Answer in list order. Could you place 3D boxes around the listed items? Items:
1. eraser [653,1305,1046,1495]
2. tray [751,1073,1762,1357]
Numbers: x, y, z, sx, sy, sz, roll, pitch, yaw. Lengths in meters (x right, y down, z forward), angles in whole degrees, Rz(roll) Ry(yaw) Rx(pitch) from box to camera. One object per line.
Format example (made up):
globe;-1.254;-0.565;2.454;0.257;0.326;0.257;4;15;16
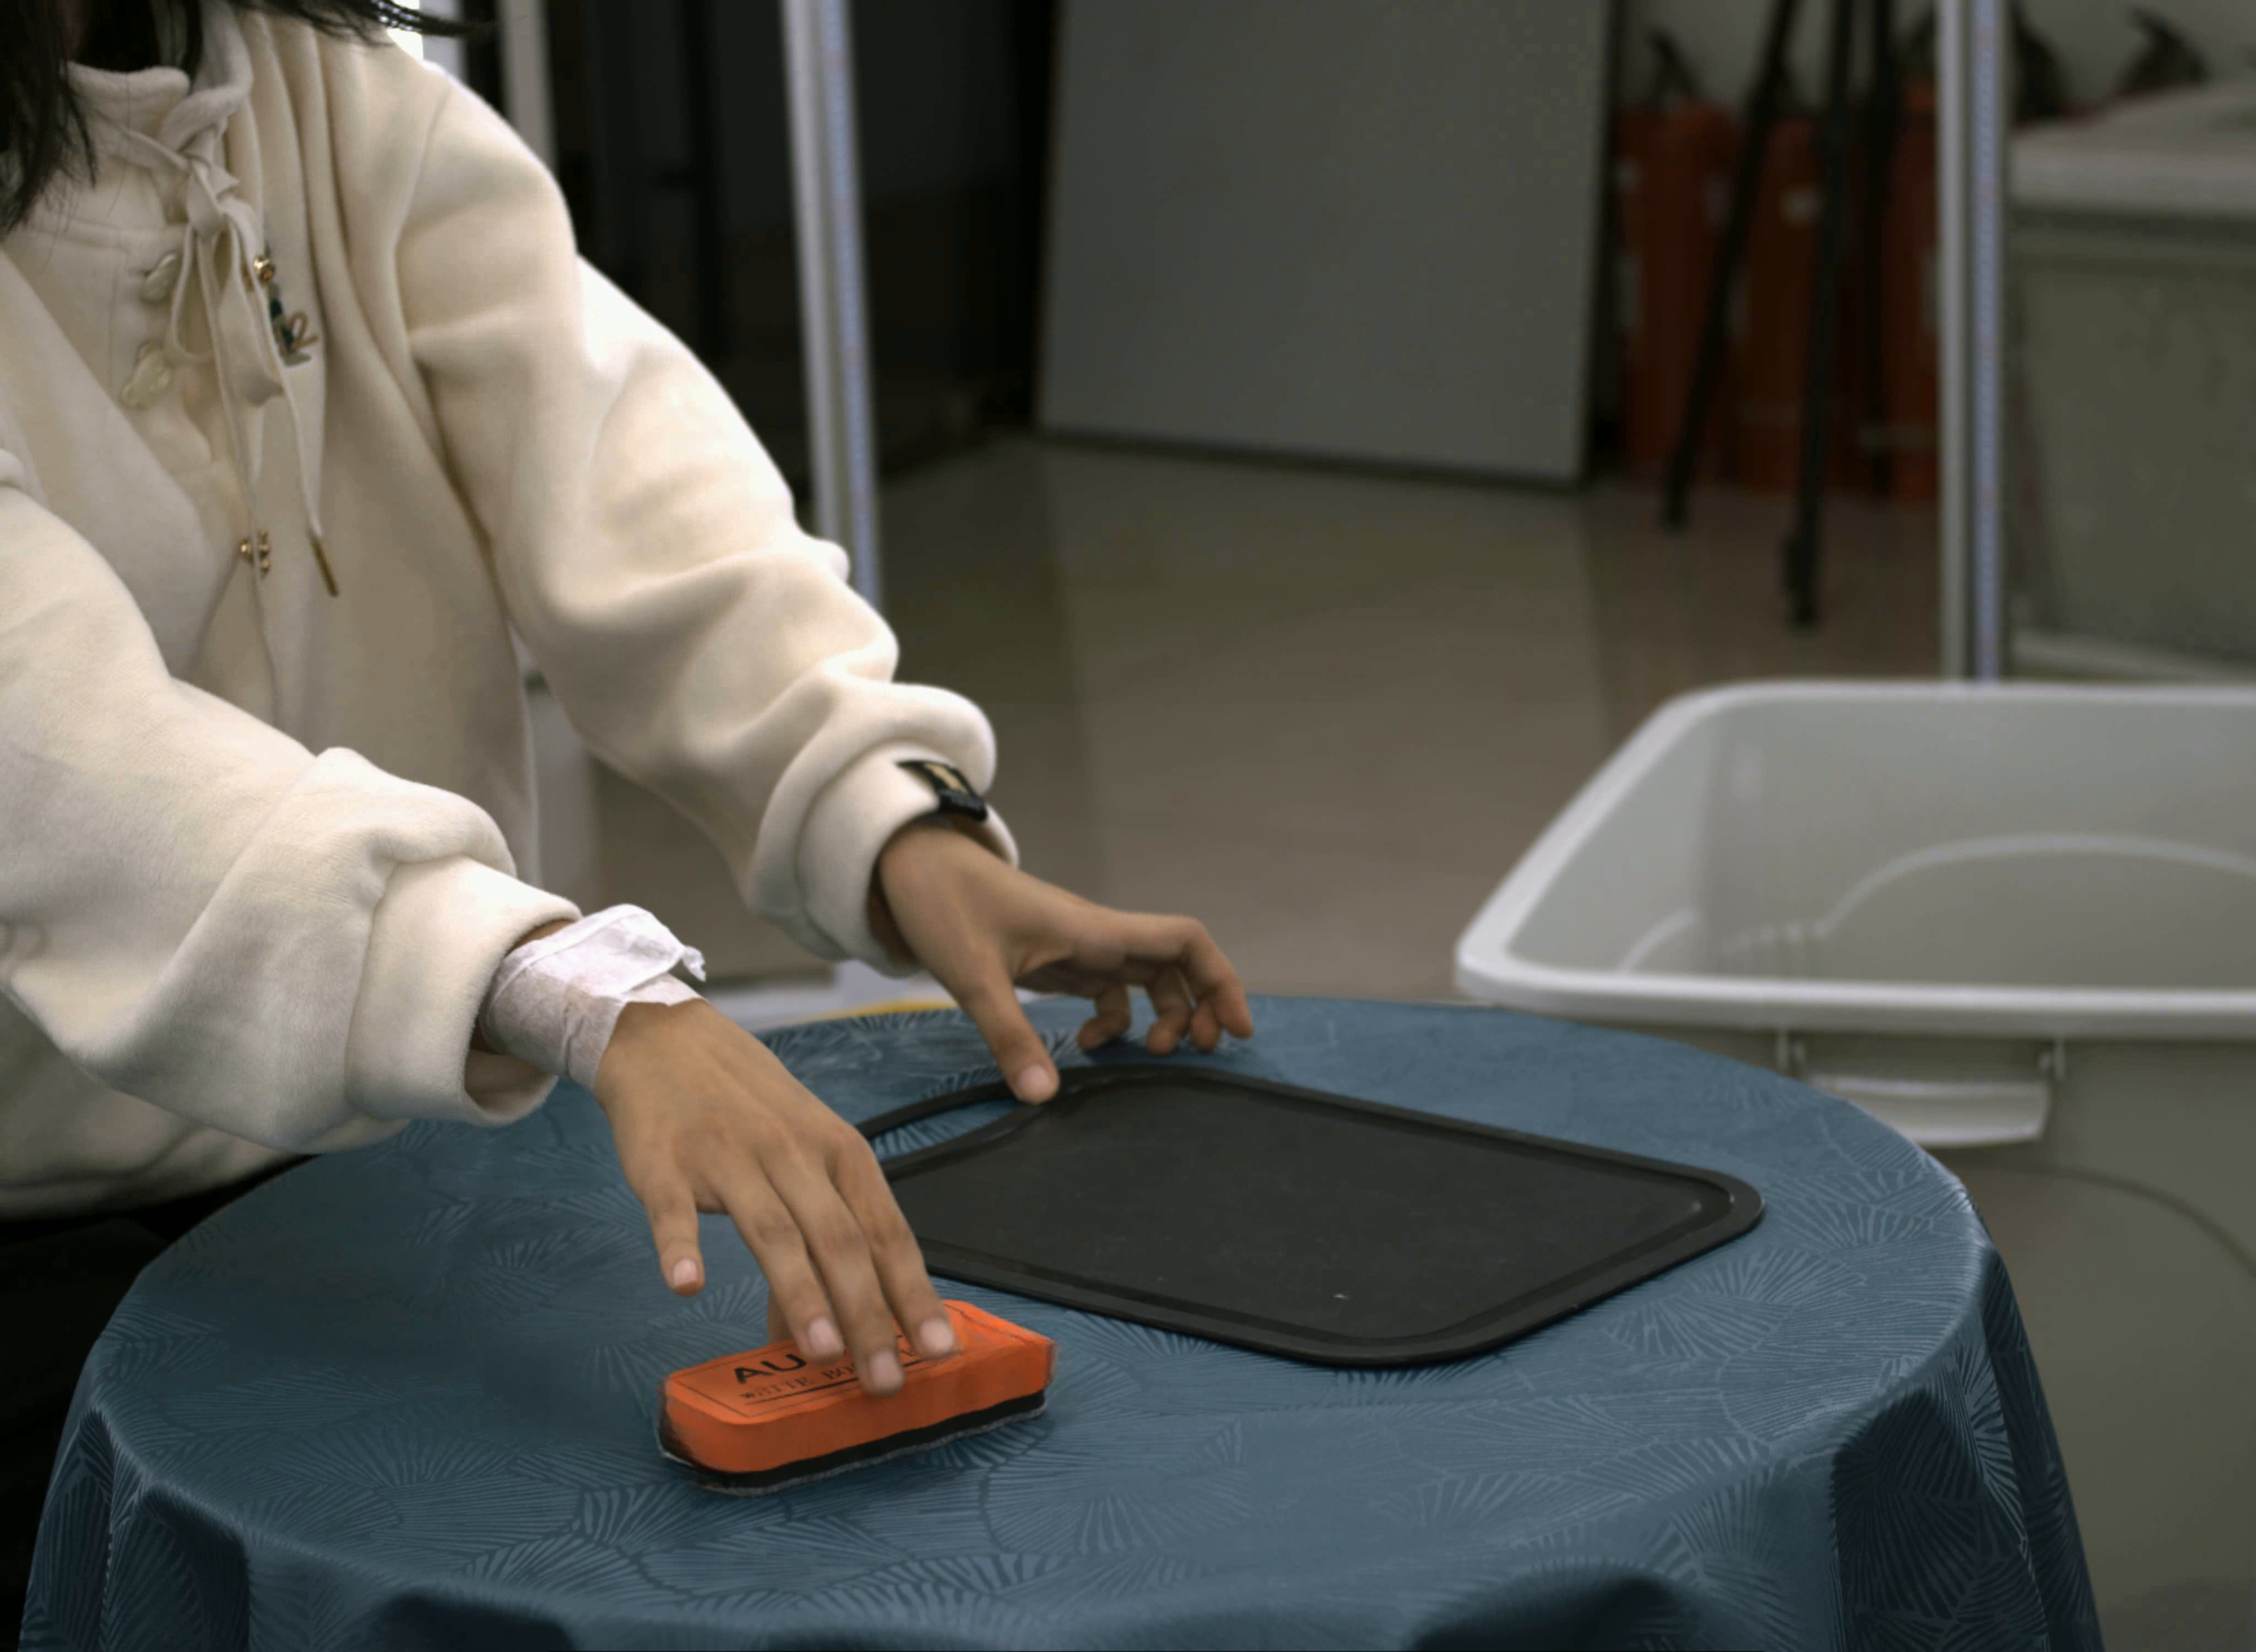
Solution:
eraser;-0.080;0.165;1.564;0.105;0.023;0.059;-12;16;-31
tray;0.032;0.121;1.749;0.328;0.010;0.207;8;18;42
